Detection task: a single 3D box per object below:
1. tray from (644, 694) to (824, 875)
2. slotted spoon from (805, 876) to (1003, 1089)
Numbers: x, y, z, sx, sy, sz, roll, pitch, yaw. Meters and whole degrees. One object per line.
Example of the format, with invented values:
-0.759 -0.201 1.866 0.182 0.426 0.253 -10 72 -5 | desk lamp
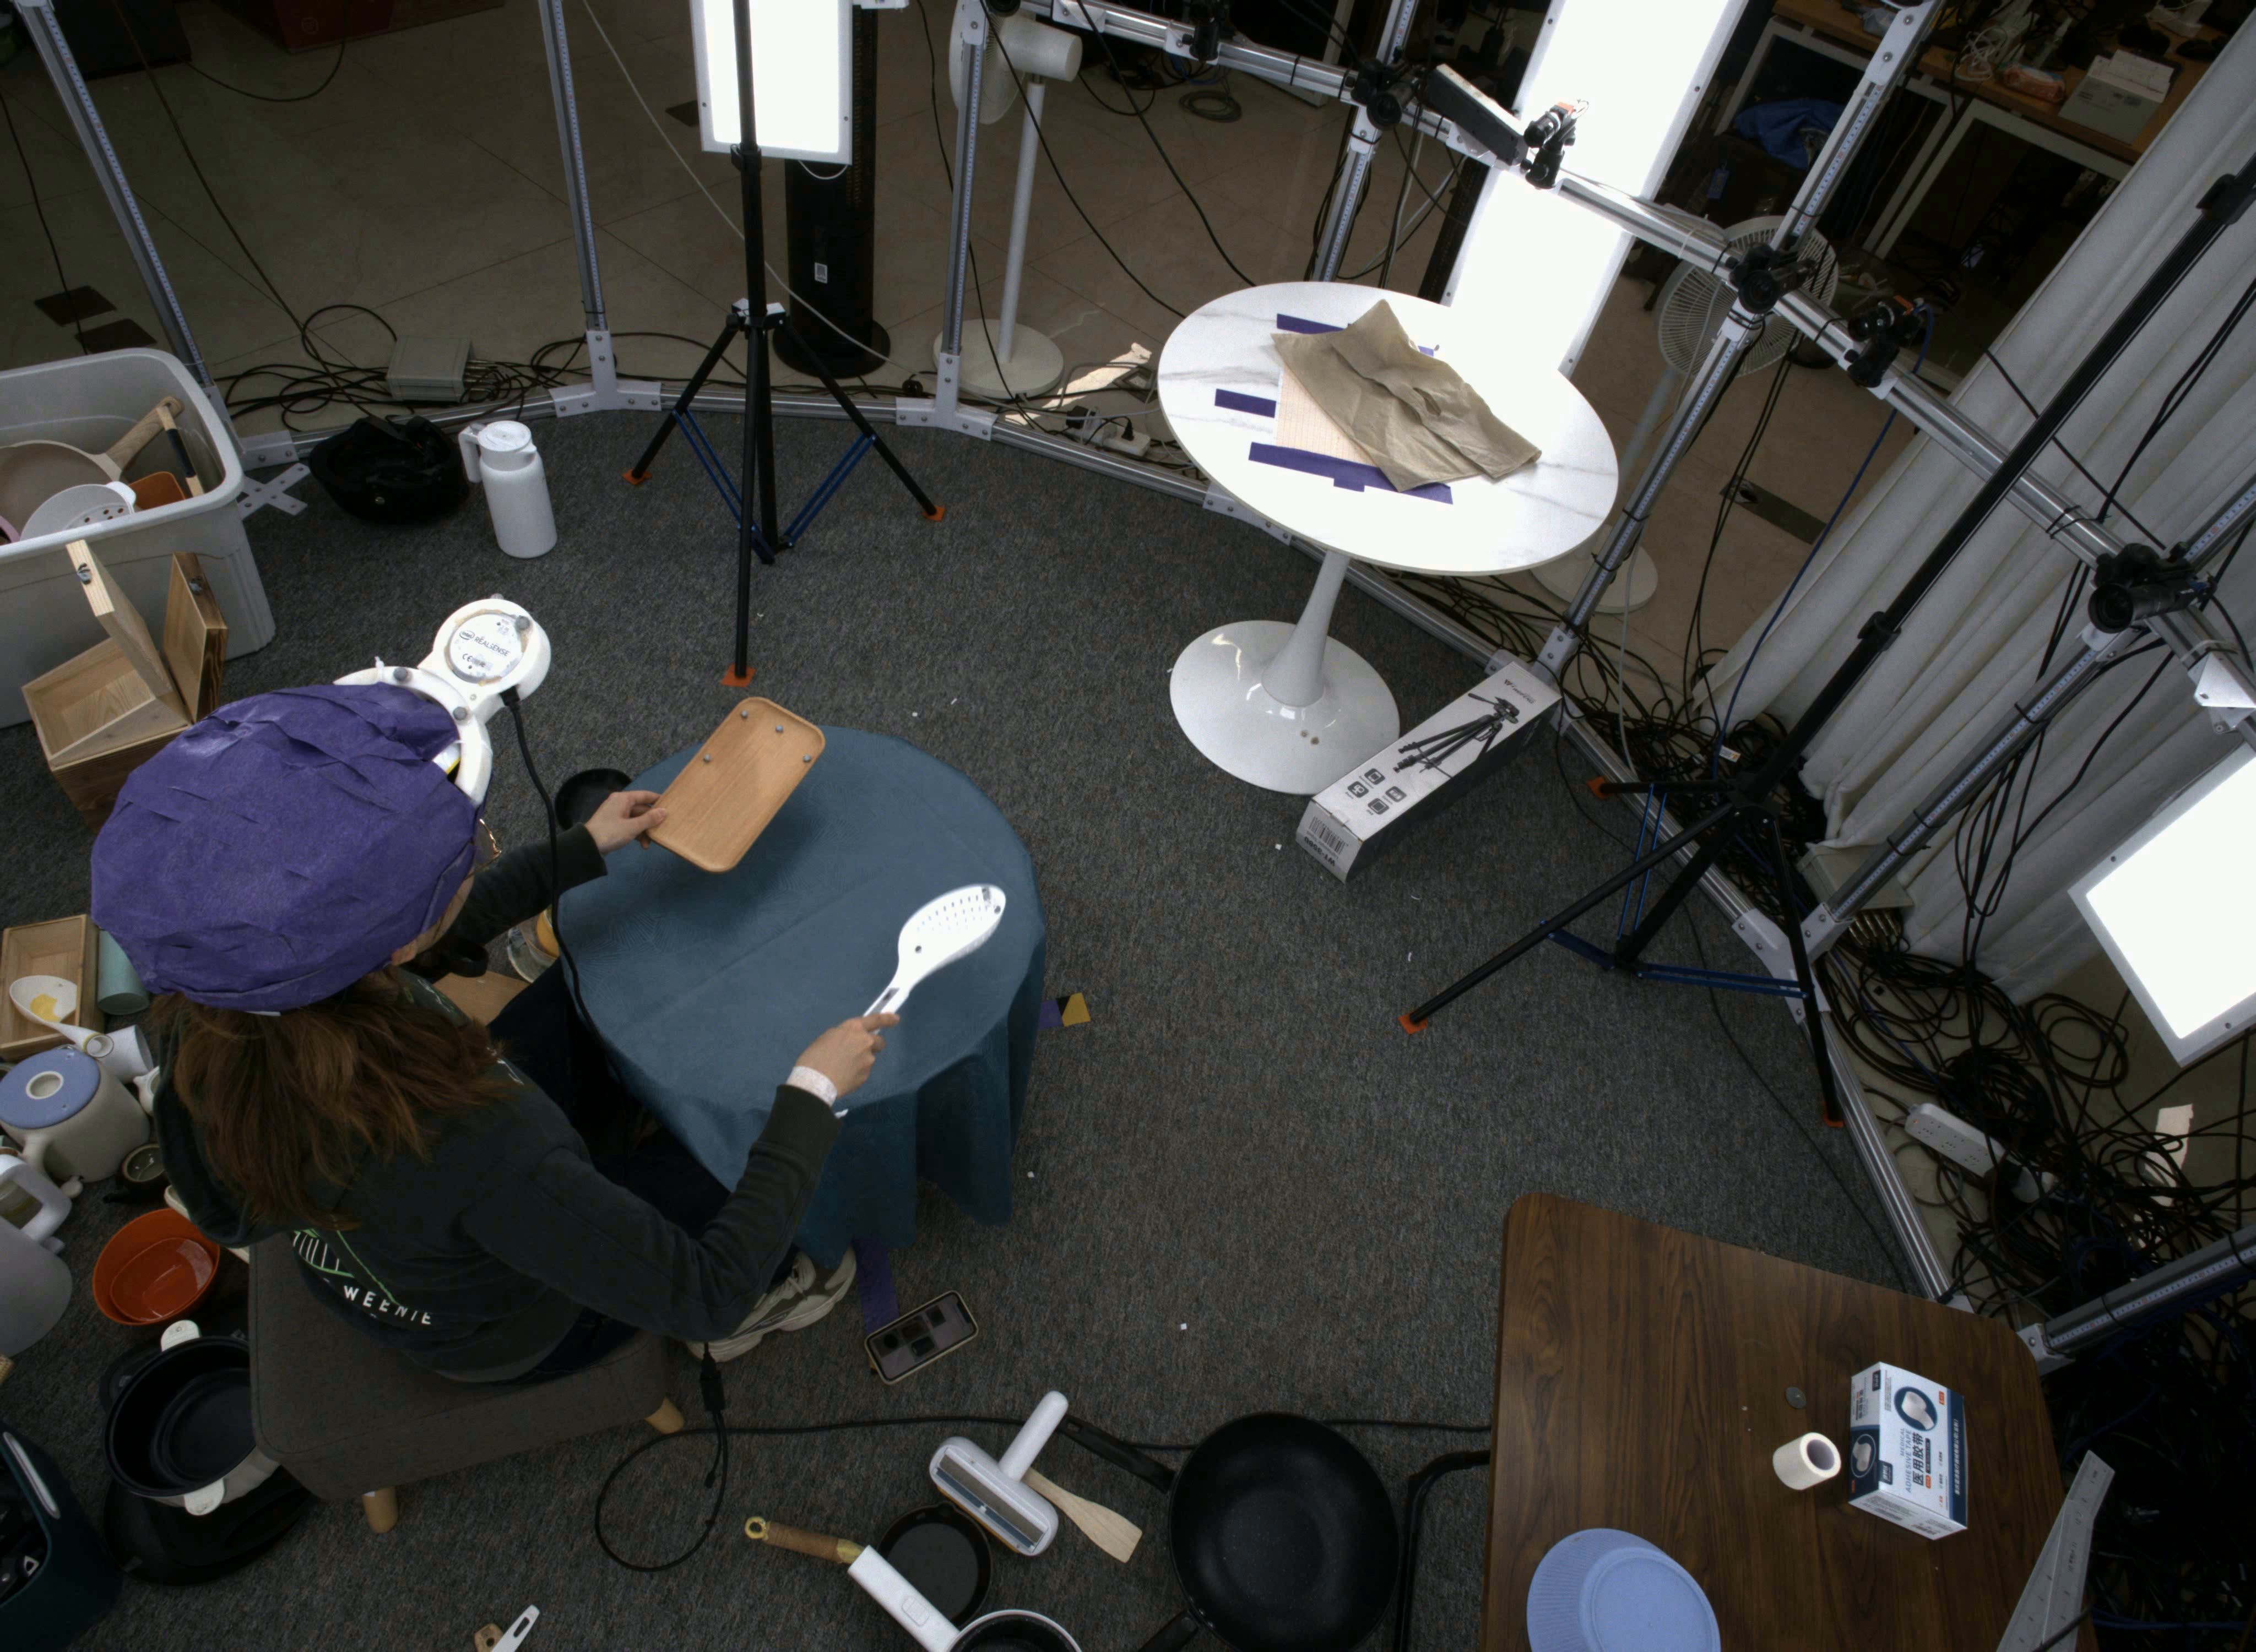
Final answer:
-0.492 -0.055 1.622 0.130 0.023 0.249 29 58 0 | tray
-0.252 0.167 1.467 0.132 0.047 0.349 -4 28 33 | slotted spoon
